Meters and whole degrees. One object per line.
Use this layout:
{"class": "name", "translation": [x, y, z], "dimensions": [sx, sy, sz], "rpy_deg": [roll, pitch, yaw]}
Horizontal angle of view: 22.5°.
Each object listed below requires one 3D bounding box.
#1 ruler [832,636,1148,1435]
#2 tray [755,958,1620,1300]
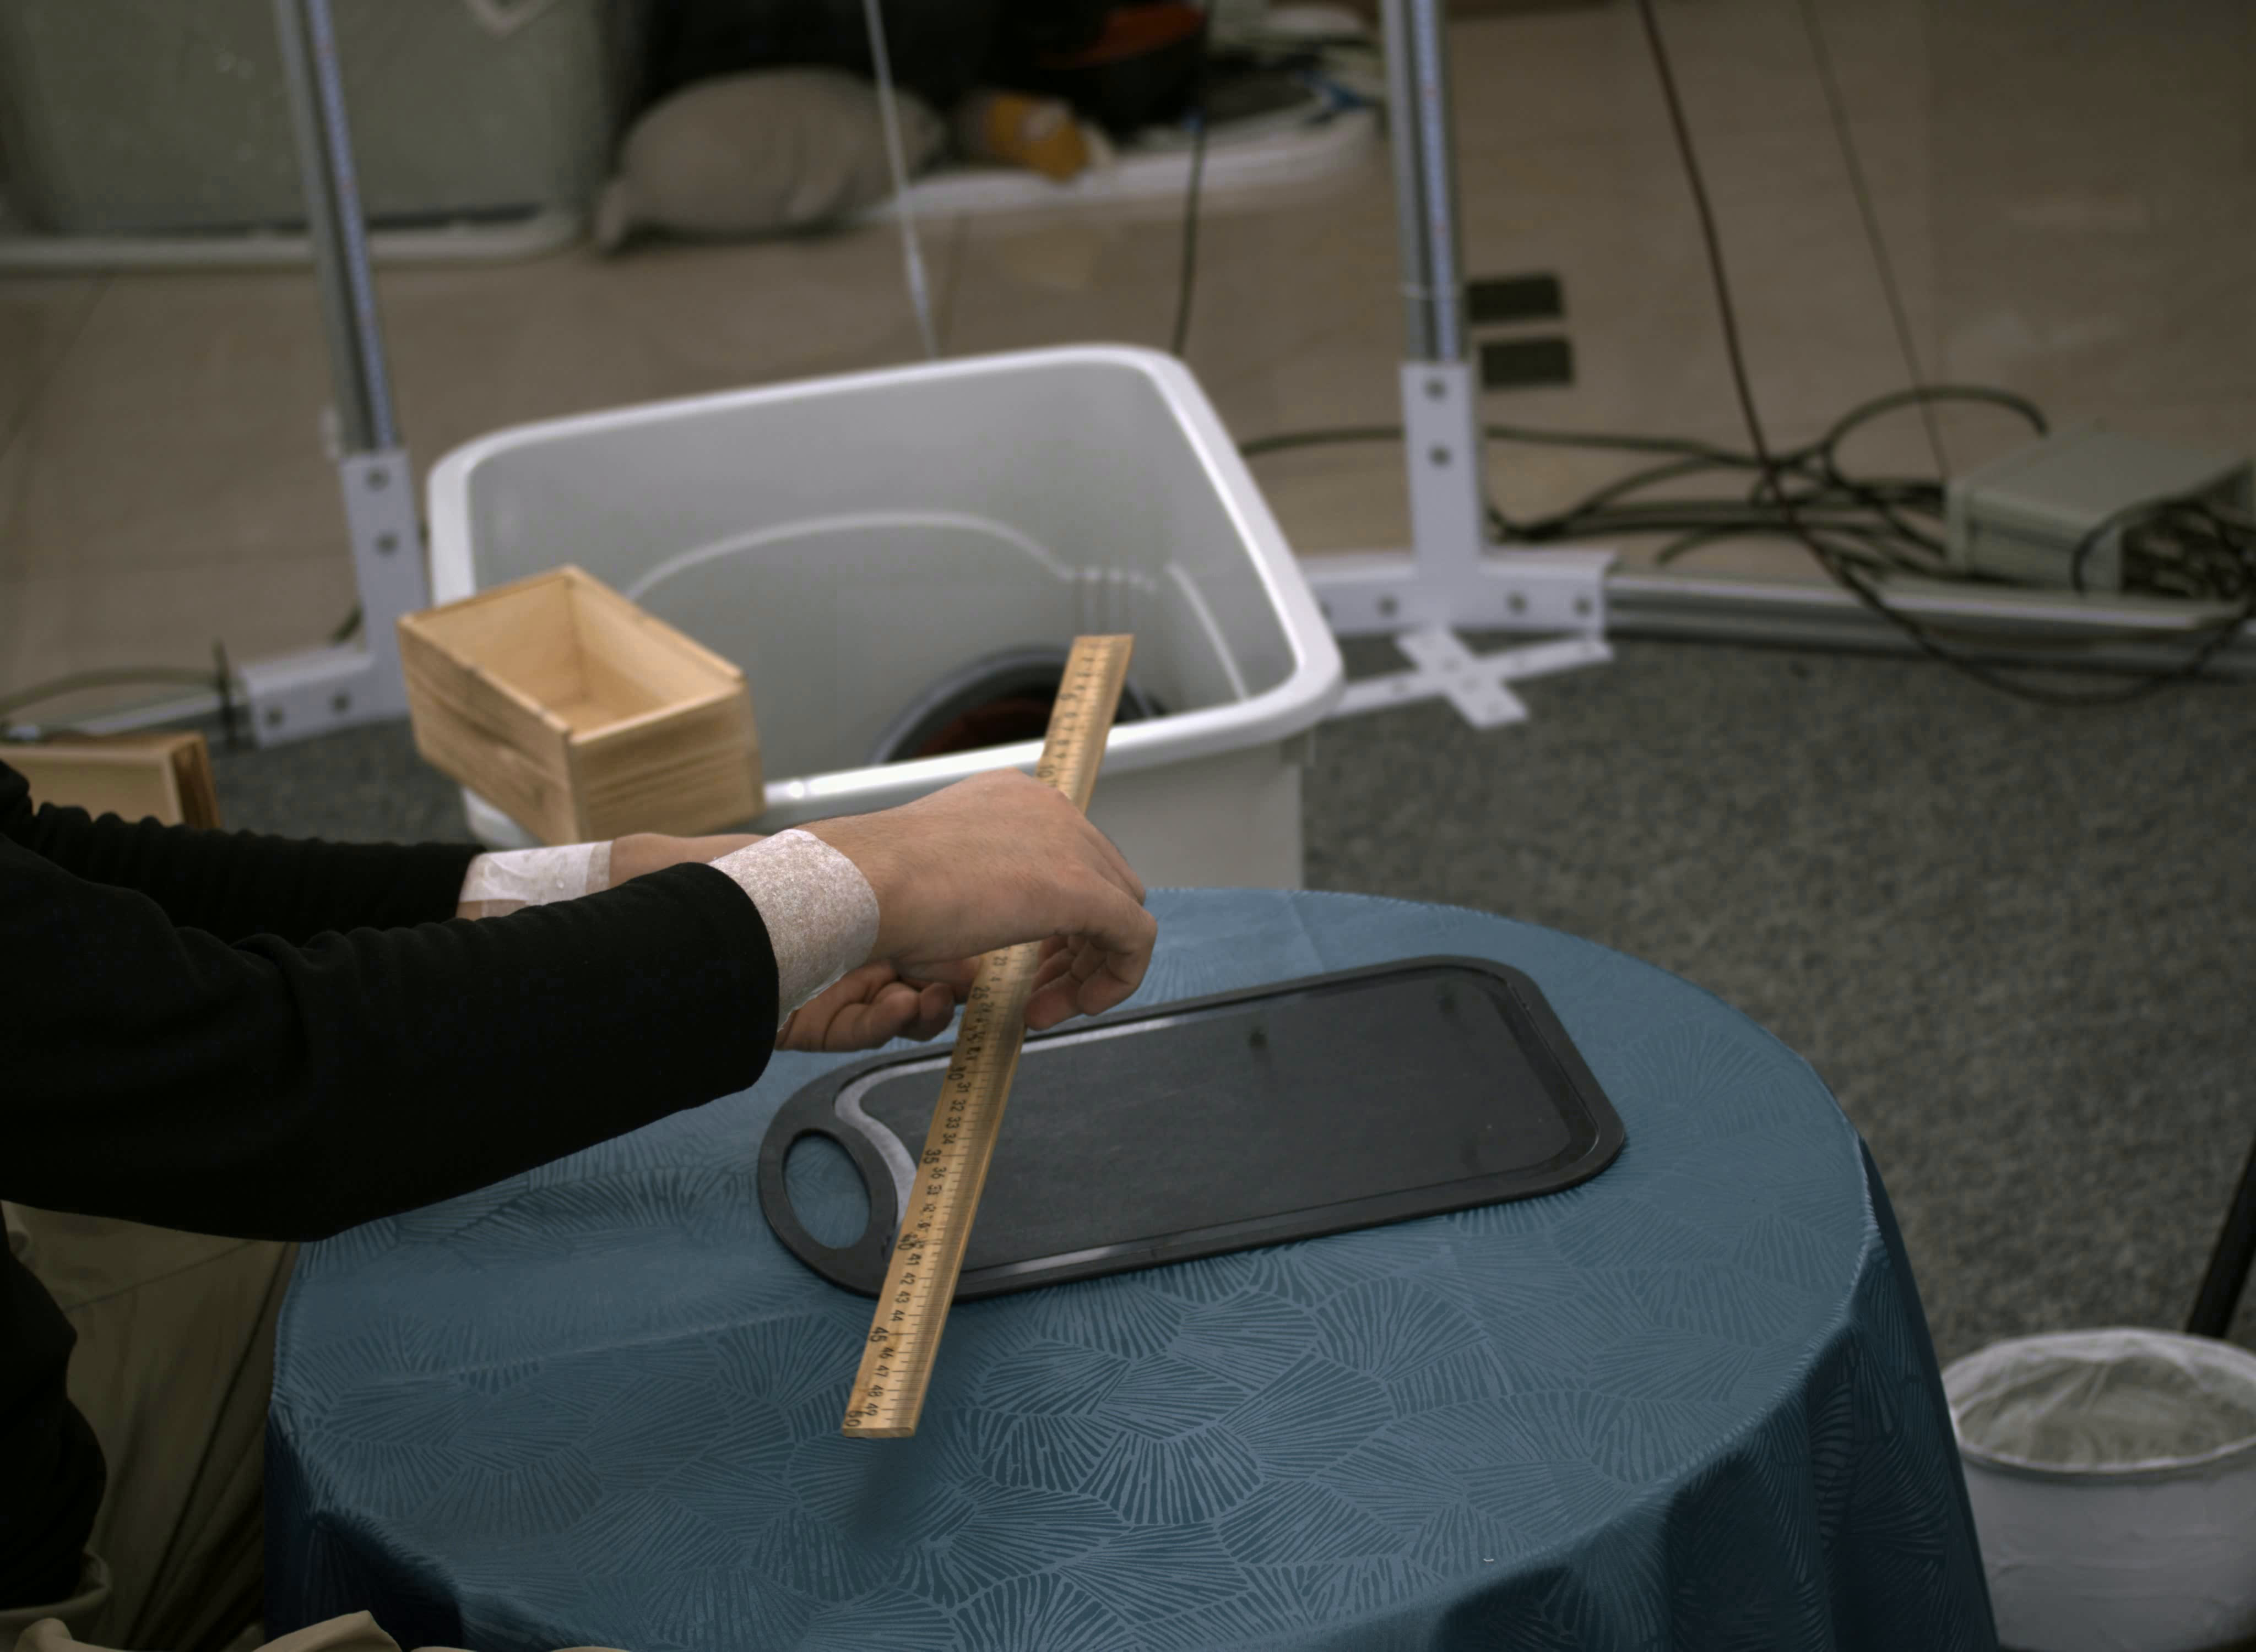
{"class": "ruler", "translation": [-0.046, 0.064, 2.101], "dimensions": [0.027, 0.006, 0.492], "rpy_deg": [-3, 34, 14]}
{"class": "tray", "translation": [0.018, 0.115, 2.187], "dimensions": [0.325, 0.010, 0.208], "rpy_deg": [-10, 25, -7]}
